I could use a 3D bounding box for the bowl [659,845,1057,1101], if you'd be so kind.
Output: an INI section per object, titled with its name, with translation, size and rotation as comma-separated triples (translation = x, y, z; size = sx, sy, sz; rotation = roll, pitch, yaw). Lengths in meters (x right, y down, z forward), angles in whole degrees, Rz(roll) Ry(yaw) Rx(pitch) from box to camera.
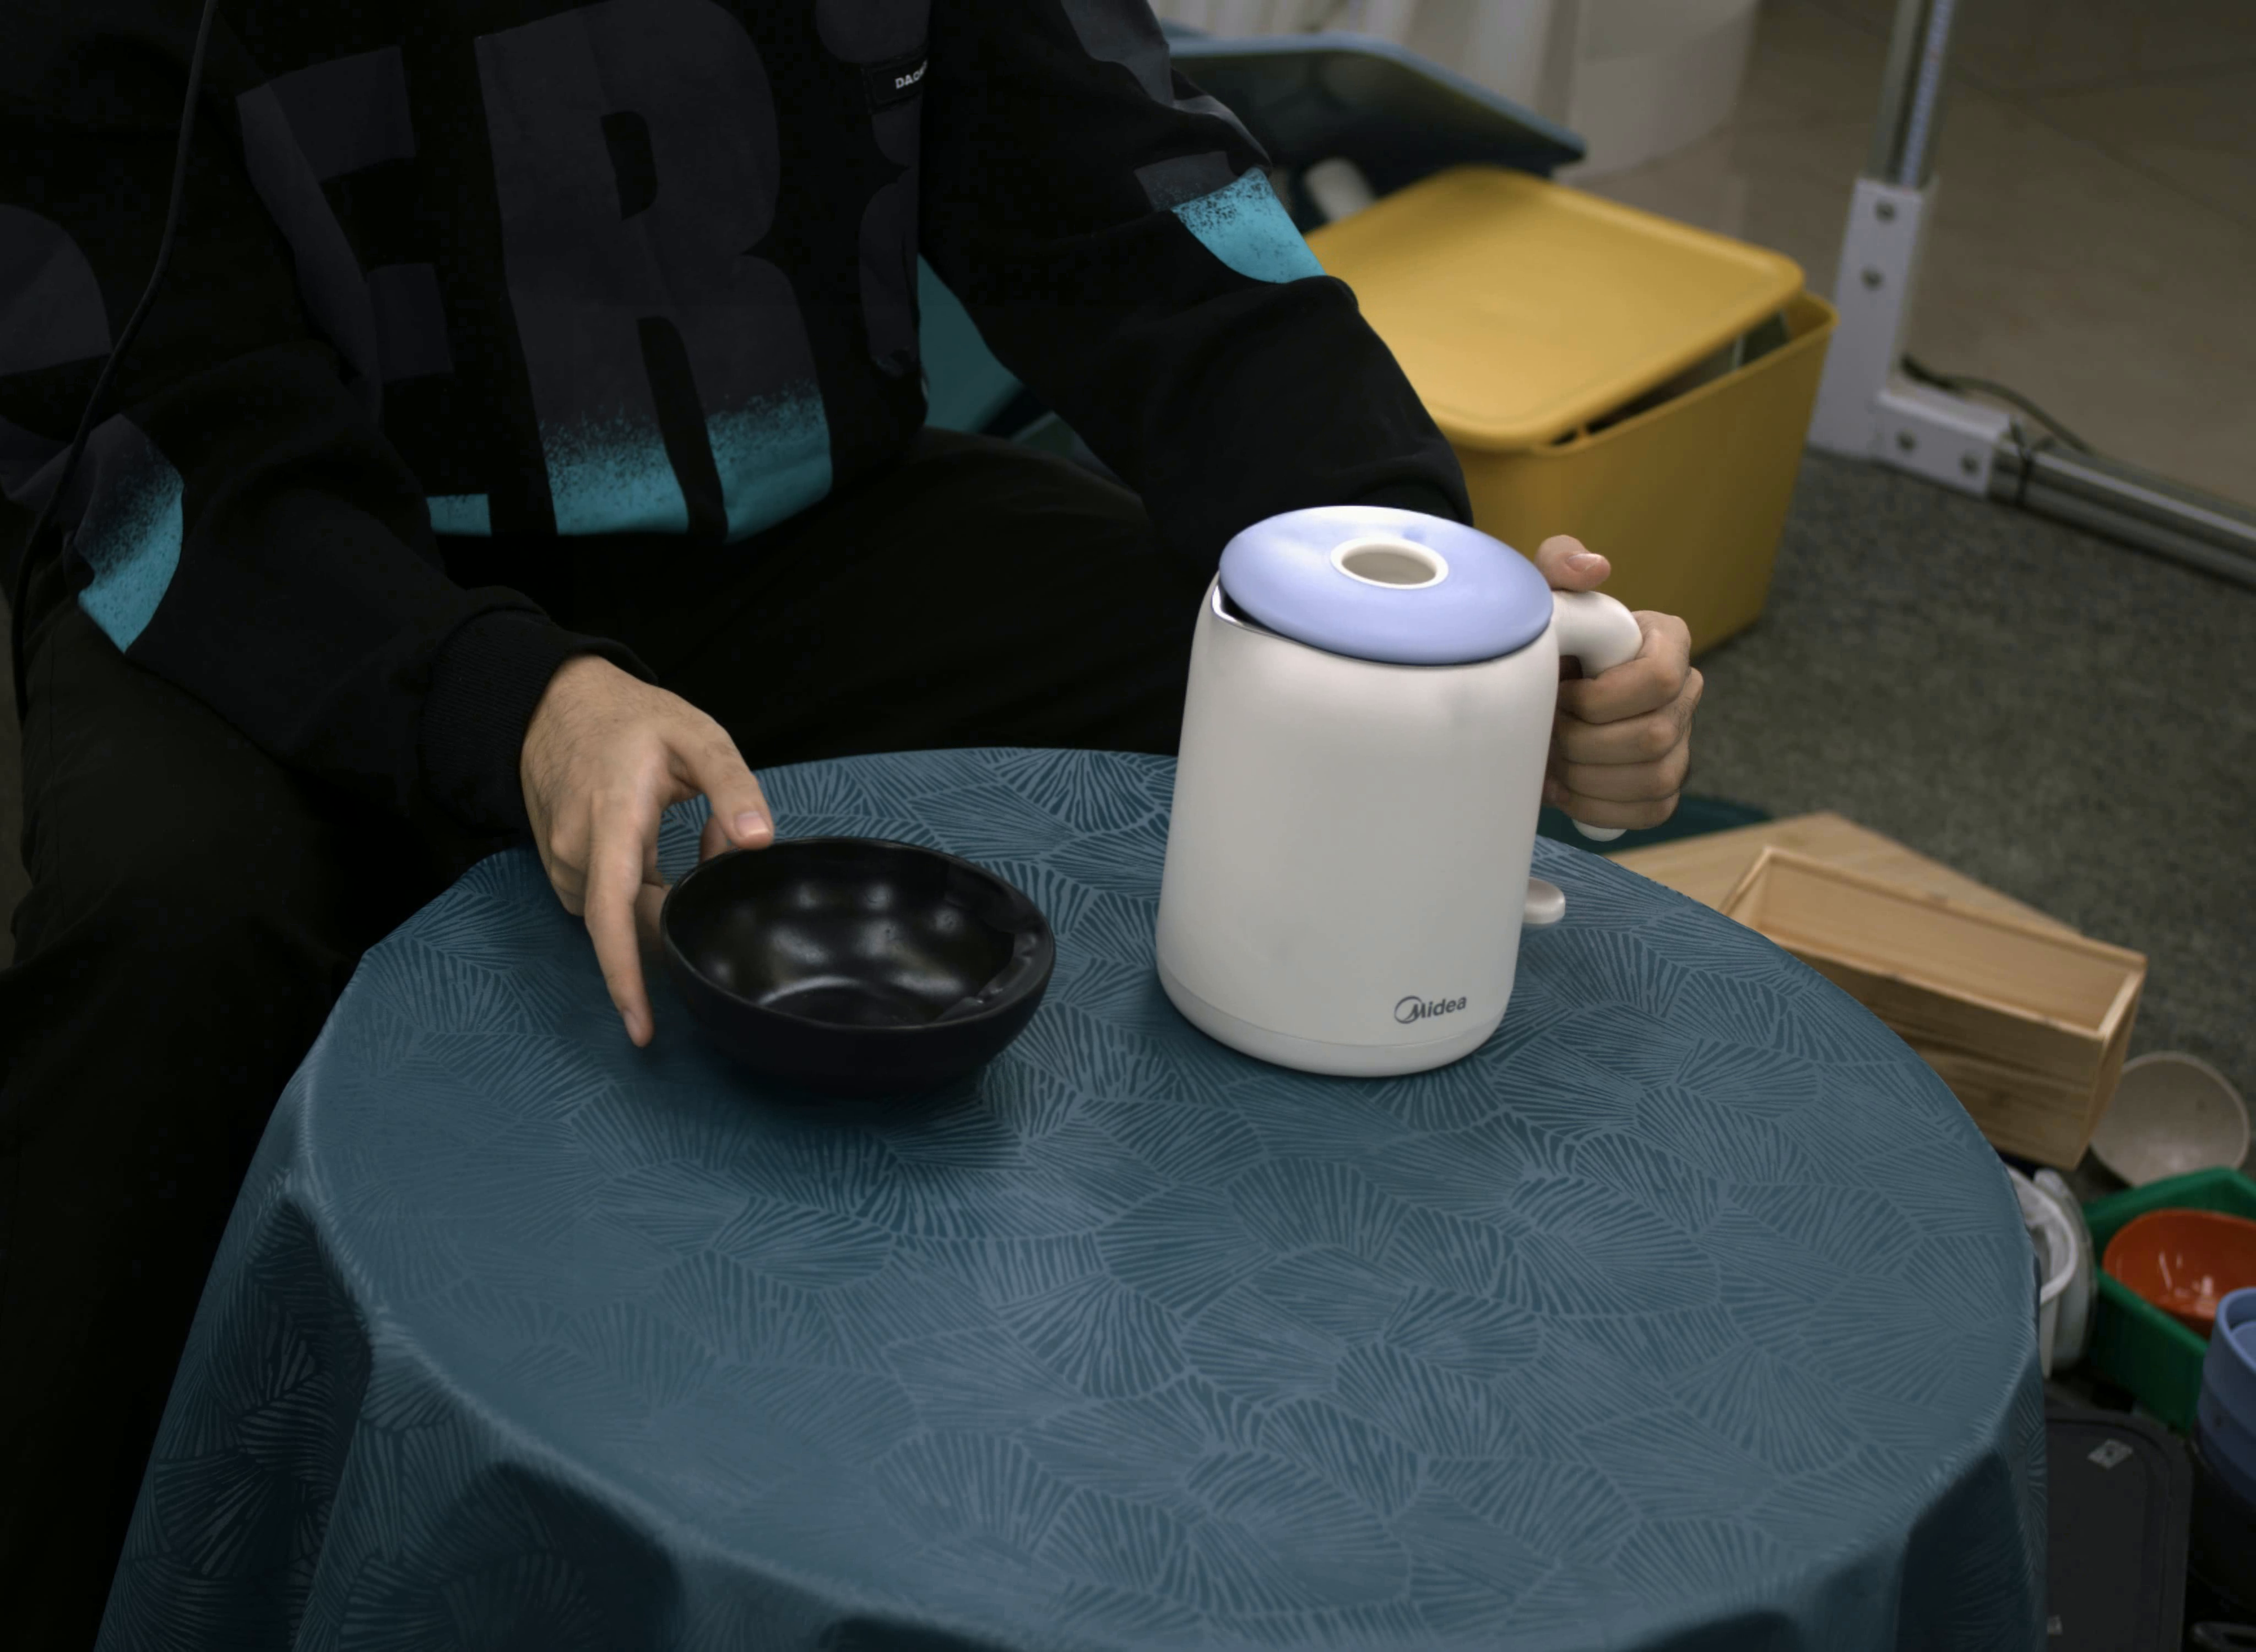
[bowl]
translation = -0.095, 0.058, 1.853
size = 0.139, 0.049, 0.141
rotation = 4, 25, -2

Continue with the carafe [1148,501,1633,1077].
[carafe]
translation = 0.102, -0.016, 1.910
size = 0.190, 0.182, 0.133
rotation = -7, 31, -30
